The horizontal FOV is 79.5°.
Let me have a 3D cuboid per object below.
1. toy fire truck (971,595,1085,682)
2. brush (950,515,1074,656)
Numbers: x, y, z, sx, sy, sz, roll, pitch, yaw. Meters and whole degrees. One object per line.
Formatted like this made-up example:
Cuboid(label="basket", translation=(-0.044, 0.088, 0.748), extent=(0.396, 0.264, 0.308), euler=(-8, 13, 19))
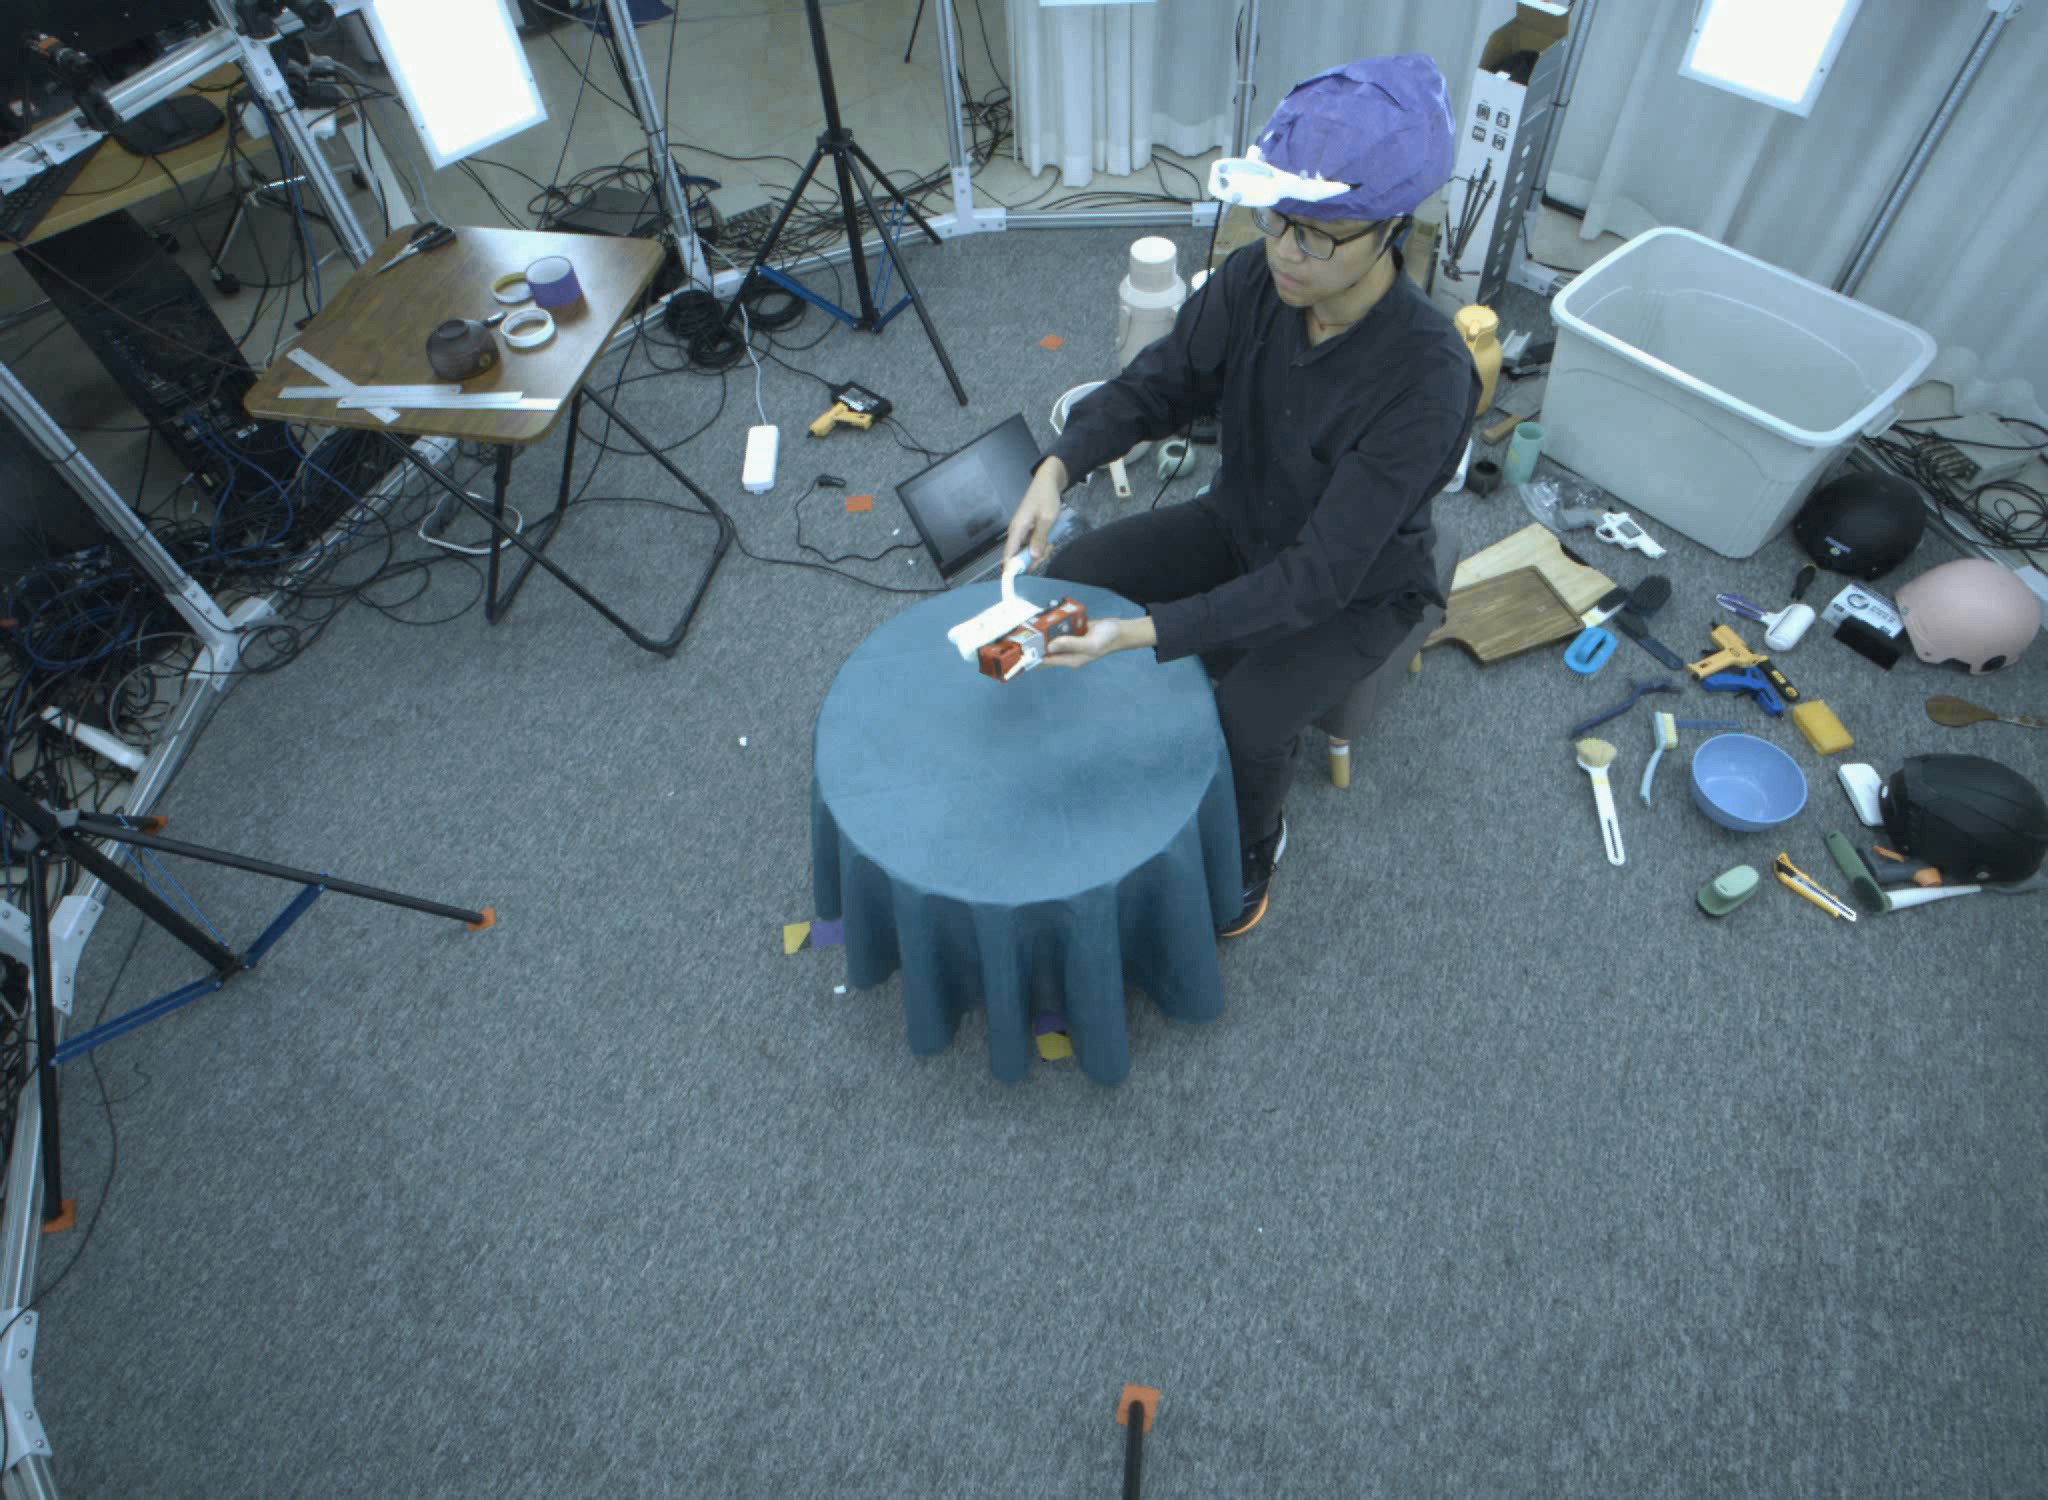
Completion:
Cuboid(label="toy fire truck", translation=(0.007, -0.148, 1.626), extent=(0.169, 0.055, 0.068), euler=(-35, 43, -30))
Cuboid(label="brush", translation=(0.012, -0.225, 1.702), extent=(0.081, 0.086, 0.327), euler=(0, 36, 37))
